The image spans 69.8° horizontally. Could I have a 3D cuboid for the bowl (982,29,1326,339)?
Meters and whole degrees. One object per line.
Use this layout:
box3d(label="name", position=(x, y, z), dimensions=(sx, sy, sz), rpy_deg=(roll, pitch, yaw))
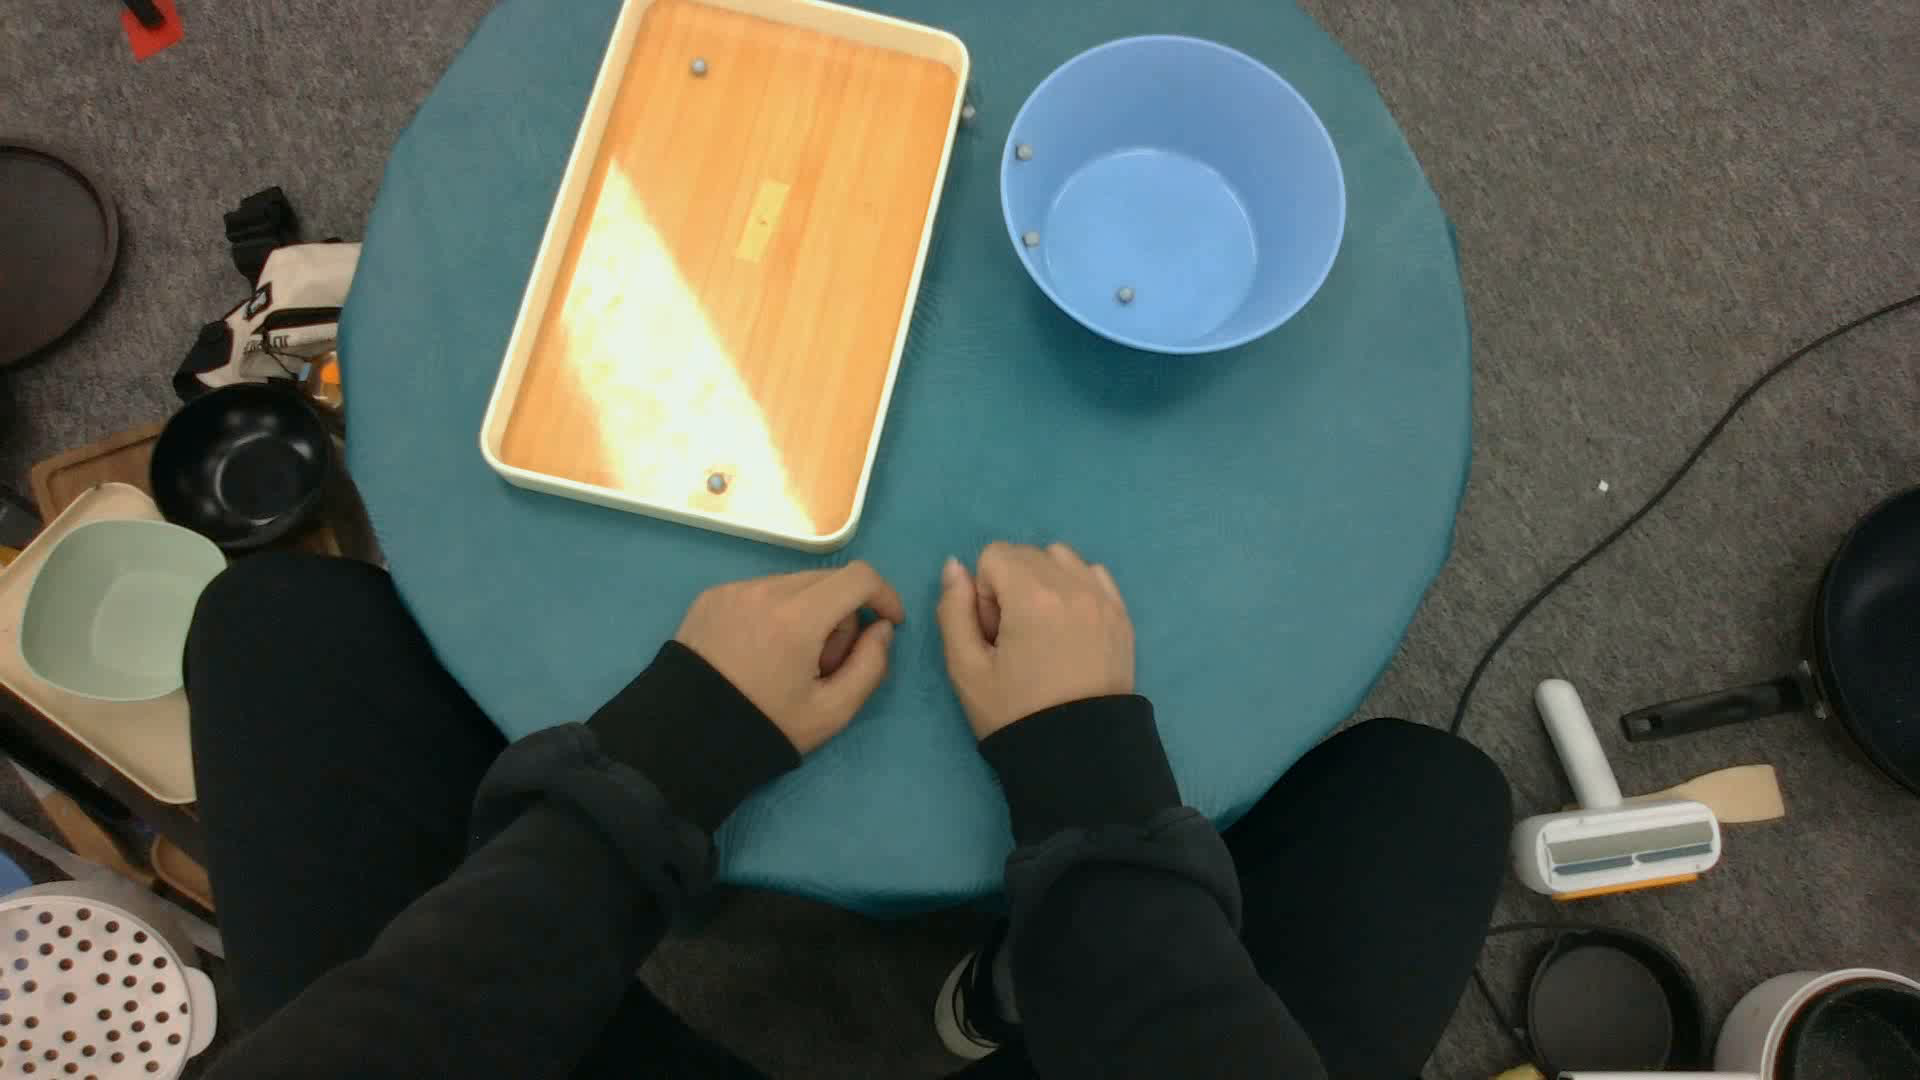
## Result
box3d(label="bowl", position=(0.097, -0.175, 0.727), dimensions=(0.176, 0.070, 0.176), rpy_deg=(1, 74, -4))

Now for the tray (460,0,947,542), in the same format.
box3d(label="tray", position=(-0.127, -0.158, 0.725), dimensions=(0.191, 0.027, 0.301), rpy_deg=(13, 73, -2))
